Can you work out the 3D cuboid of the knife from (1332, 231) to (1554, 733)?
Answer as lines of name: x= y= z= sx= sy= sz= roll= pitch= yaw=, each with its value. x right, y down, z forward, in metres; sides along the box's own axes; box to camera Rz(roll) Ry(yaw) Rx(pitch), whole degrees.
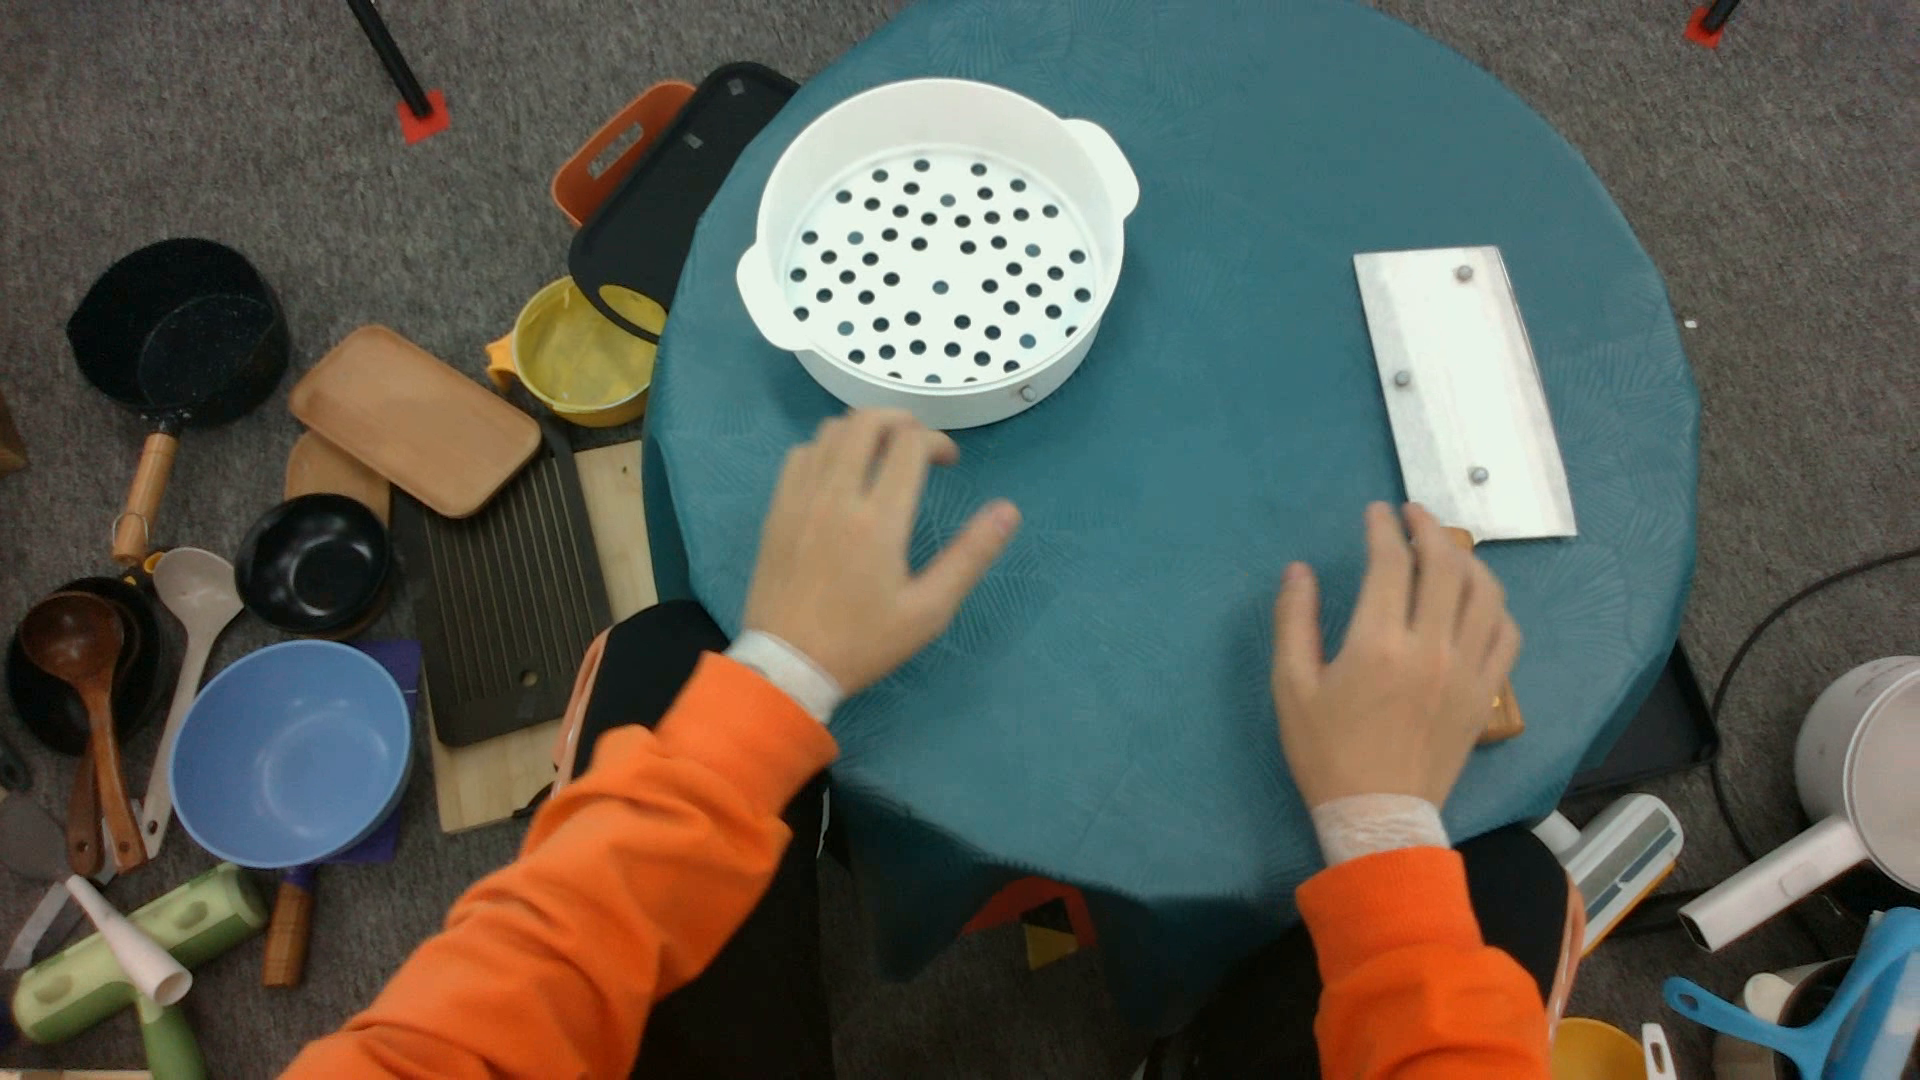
knife: x=0.281 y=-0.044 z=0.773 sx=0.093 sy=0.021 sz=0.306 roll=-4 pitch=68 yaw=-5

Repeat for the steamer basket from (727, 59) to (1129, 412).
steamer basket: x=-0.016 y=-0.171 z=0.779 sx=0.231 sy=0.069 sz=0.202 roll=-25 pitch=73 yaw=-13
